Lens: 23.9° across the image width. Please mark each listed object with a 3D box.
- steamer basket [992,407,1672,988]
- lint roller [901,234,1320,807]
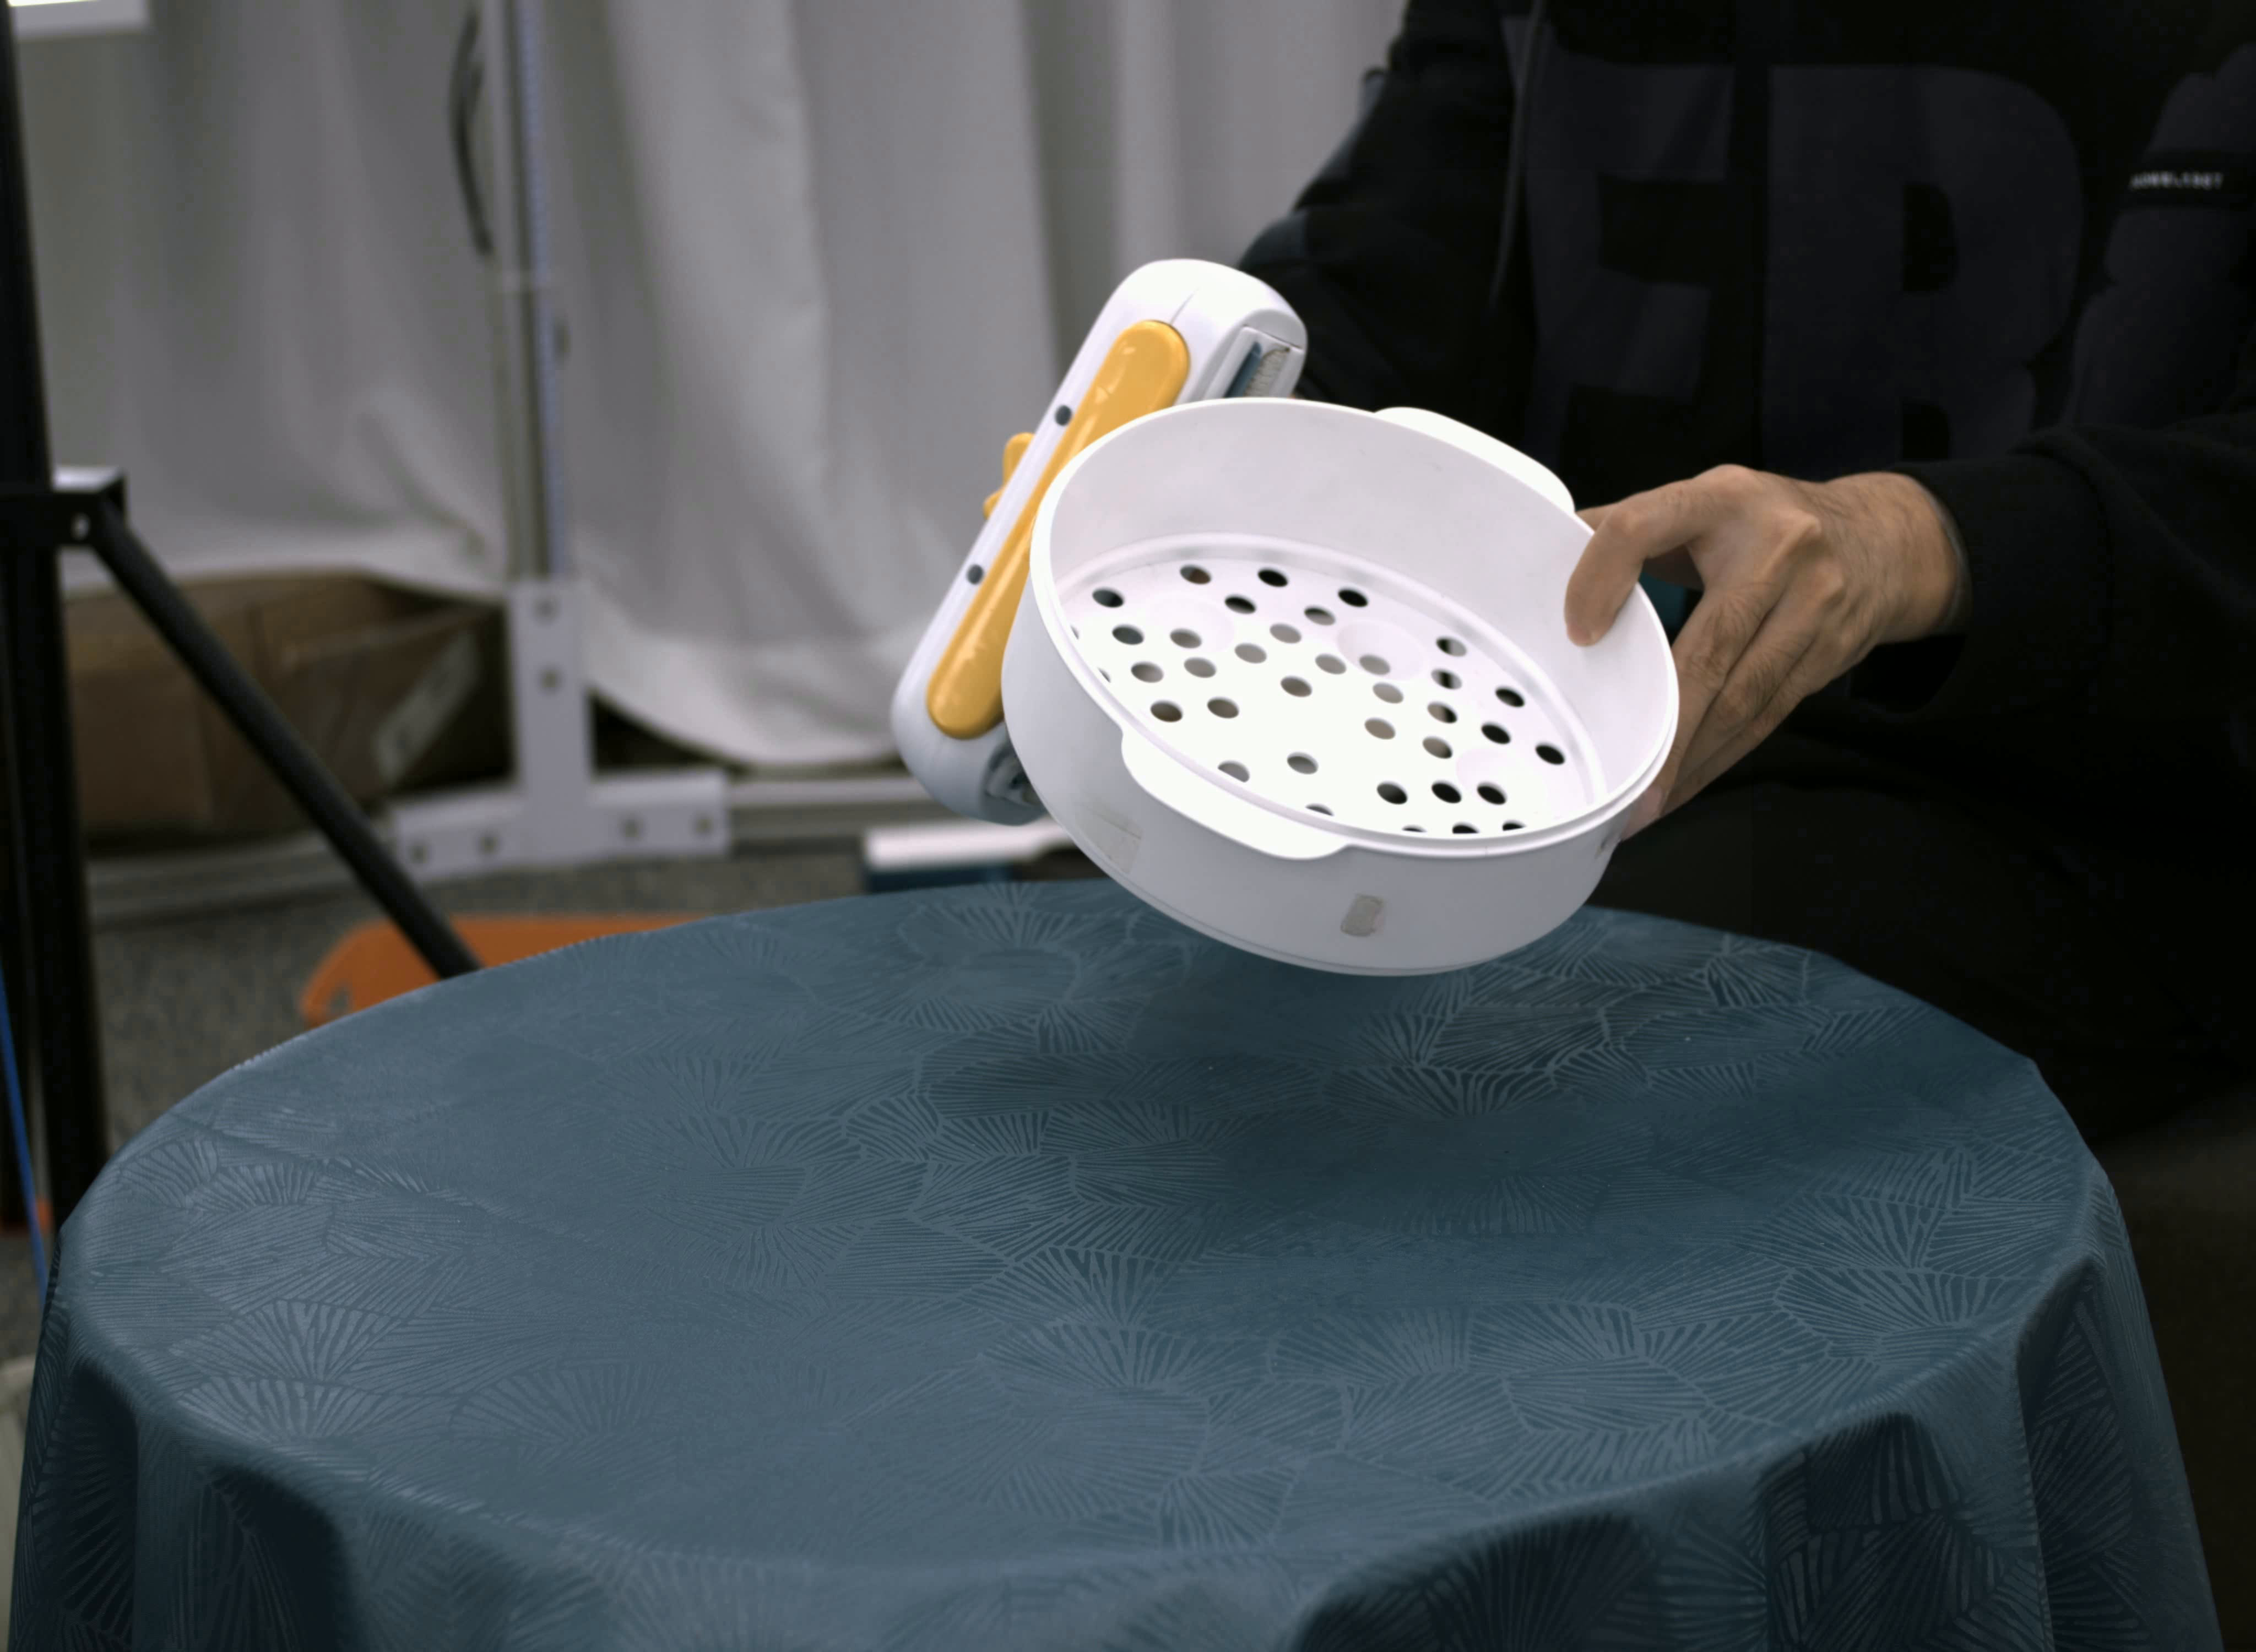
[{"bbox_3d":[0.058,-0.037,1.586,0.203,0.069,0.228,28,39,10],"label":"steamer basket"},{"bbox_3d":[0.006,-0.094,1.742,0.075,0.193,0.189,27,3,19],"label":"lint roller"}]
